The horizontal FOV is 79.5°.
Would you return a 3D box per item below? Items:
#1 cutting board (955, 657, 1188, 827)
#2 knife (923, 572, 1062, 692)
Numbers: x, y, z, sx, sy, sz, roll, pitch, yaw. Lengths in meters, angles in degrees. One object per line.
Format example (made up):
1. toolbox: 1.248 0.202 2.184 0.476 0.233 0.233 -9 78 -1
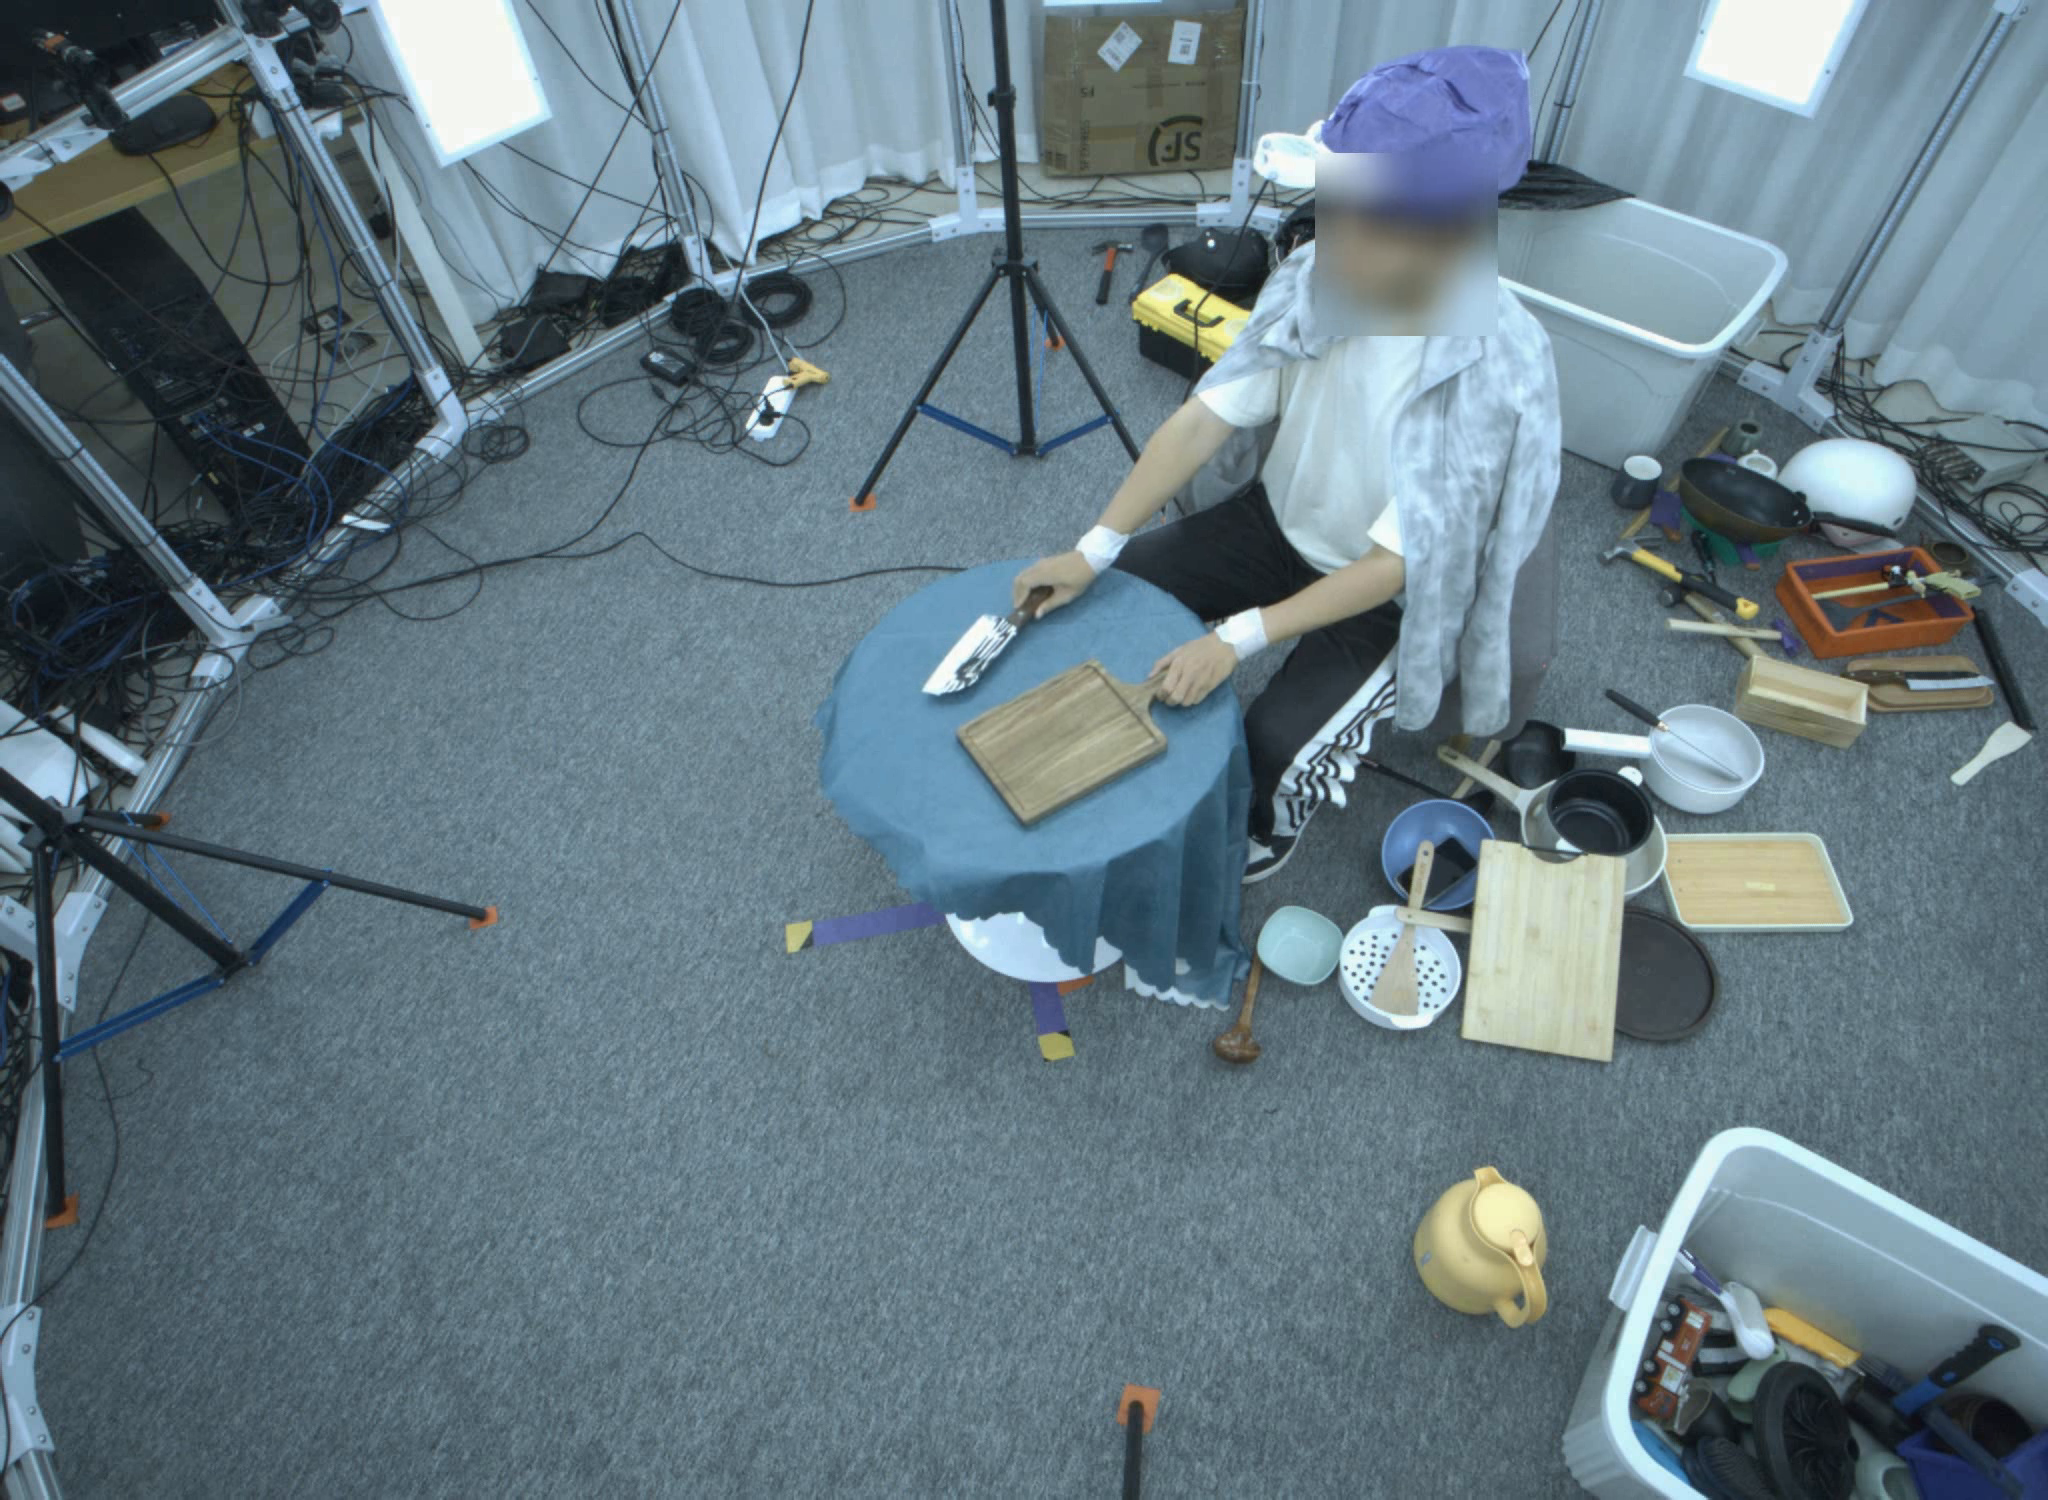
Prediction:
1. cutting board: 0.096 -0.040 1.801 0.355 0.023 0.197 -28 59 -18
2. knife: -0.047 -0.185 1.892 0.067 0.024 0.301 30 62 19
